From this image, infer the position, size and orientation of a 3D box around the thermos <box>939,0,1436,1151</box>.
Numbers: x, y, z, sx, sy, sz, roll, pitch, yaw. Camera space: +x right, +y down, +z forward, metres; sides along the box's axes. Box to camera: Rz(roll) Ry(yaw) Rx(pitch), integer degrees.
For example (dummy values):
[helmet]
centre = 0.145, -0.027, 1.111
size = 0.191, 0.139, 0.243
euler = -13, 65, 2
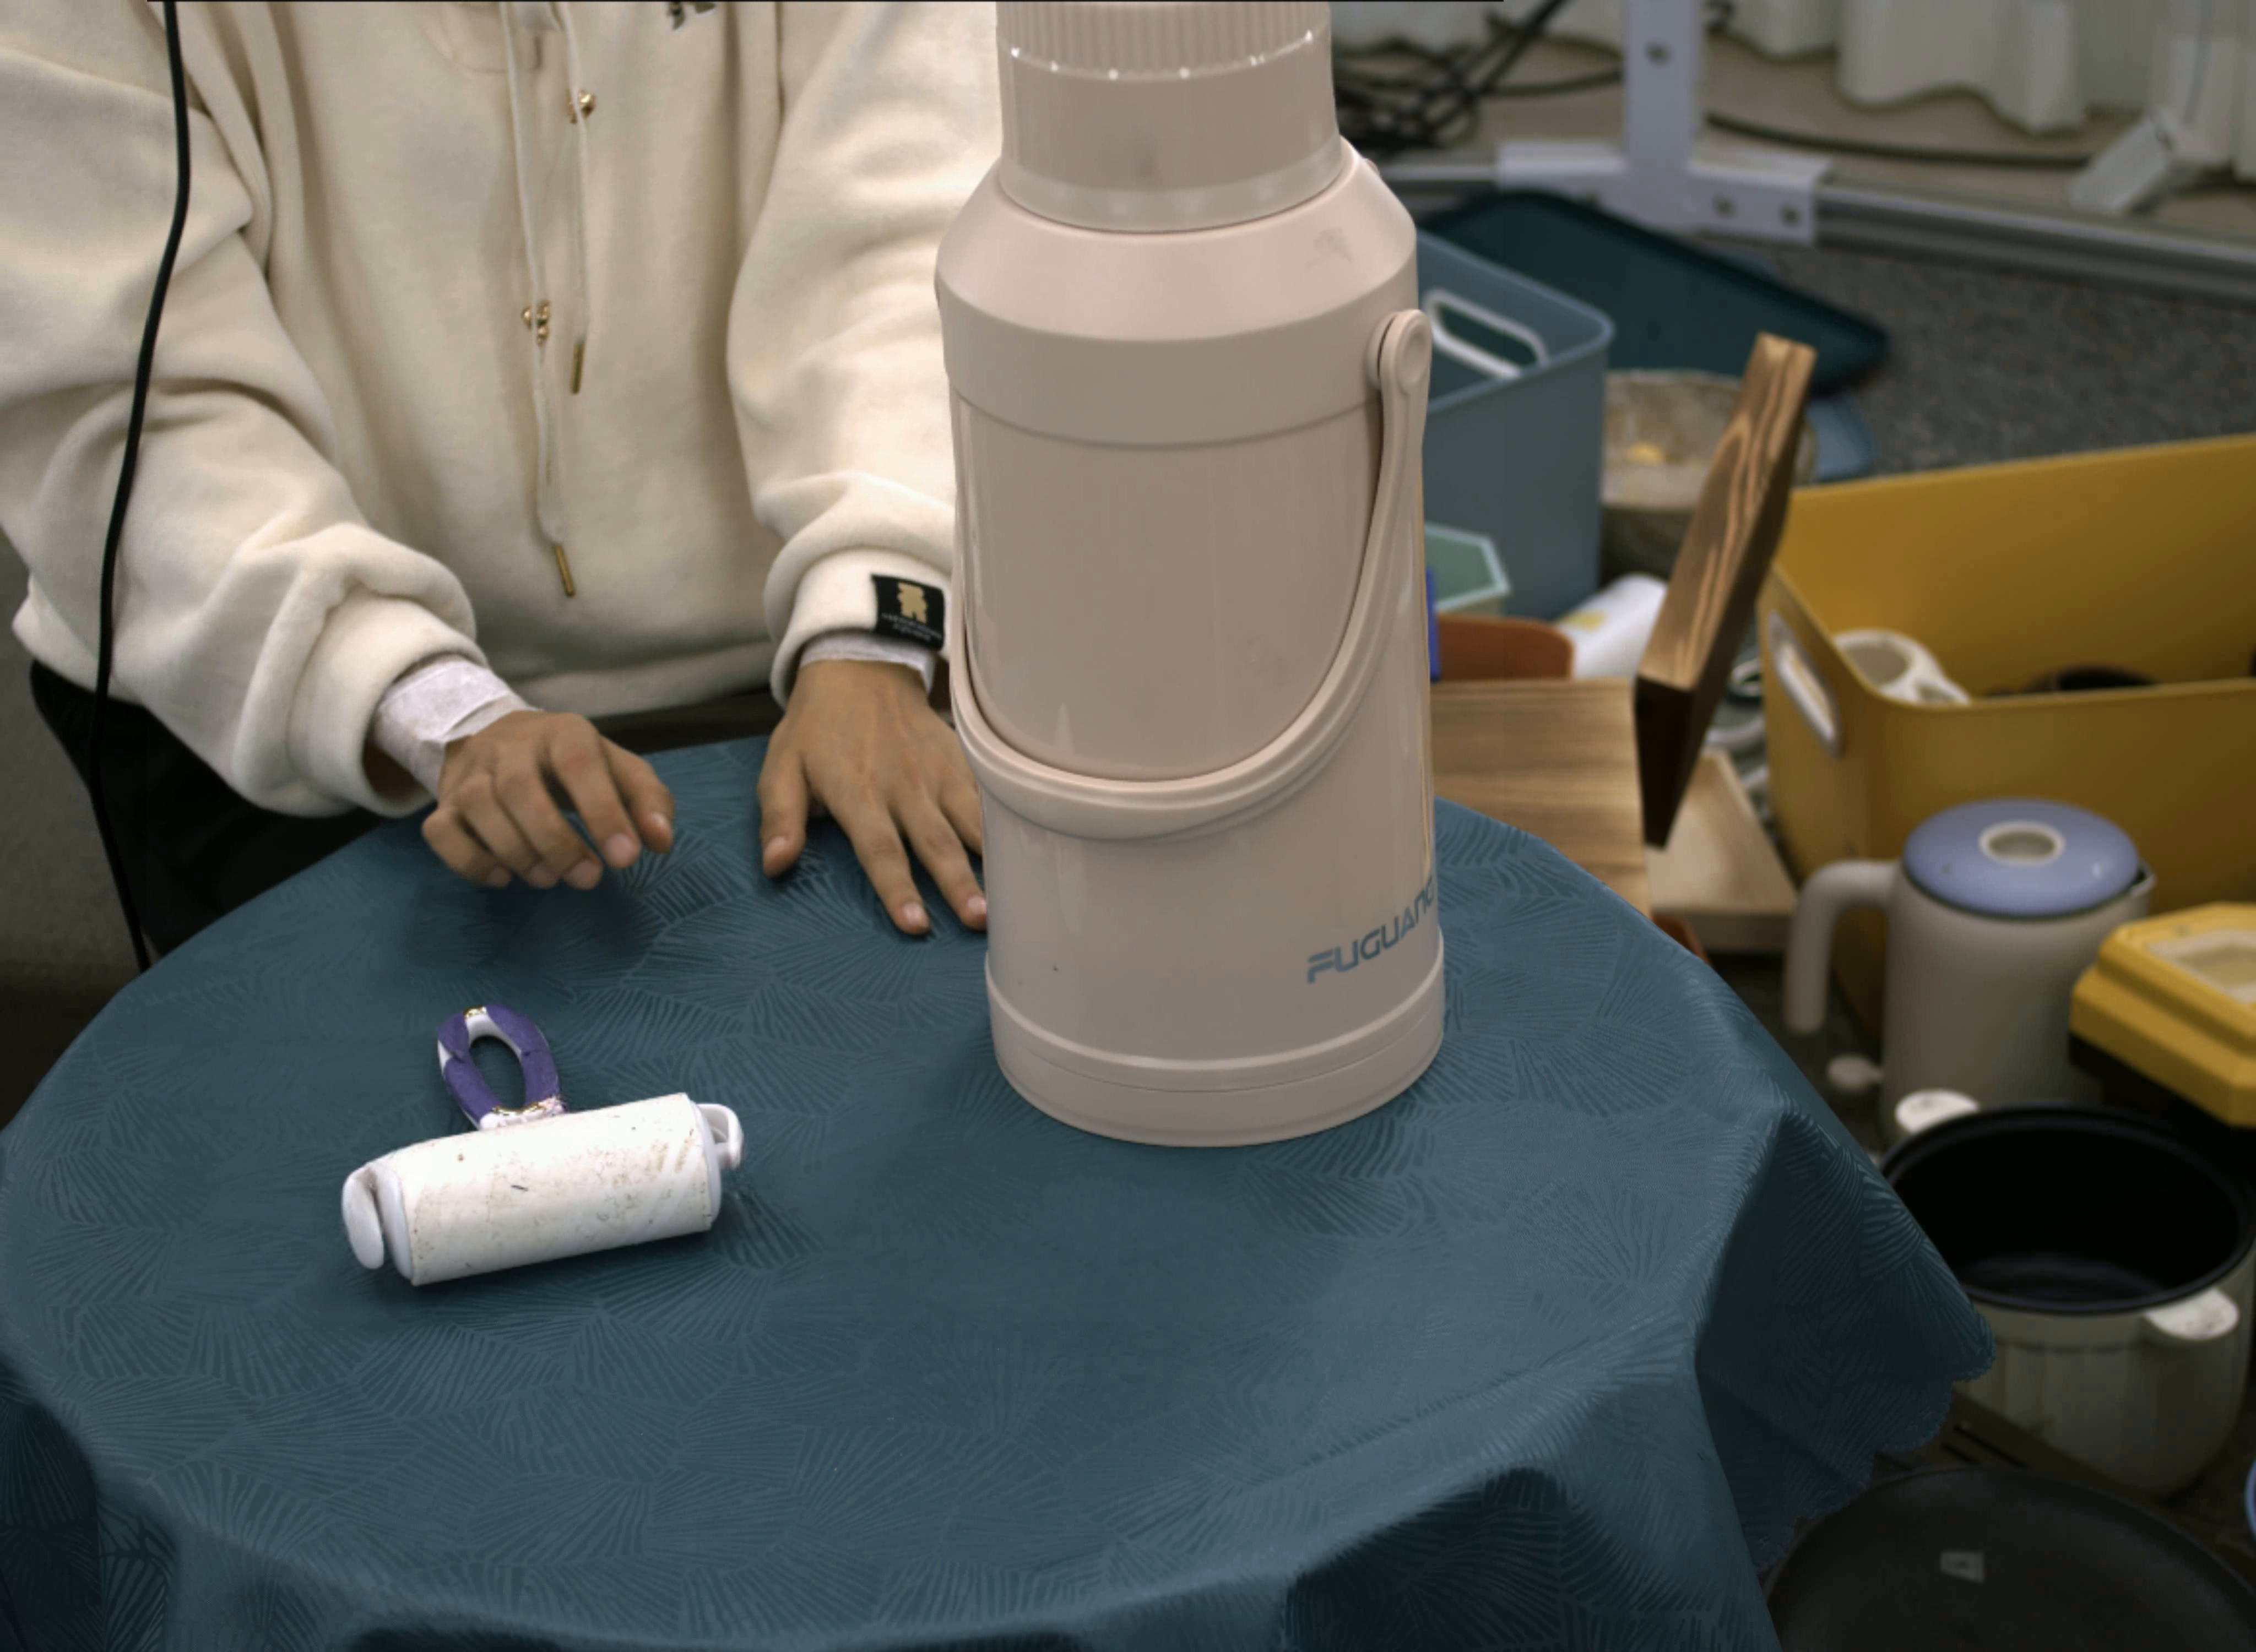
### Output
[thermos]
centre = 0.029, -0.108, 1.877
size = 0.174, 0.402, 0.210
euler = 12, 30, 29

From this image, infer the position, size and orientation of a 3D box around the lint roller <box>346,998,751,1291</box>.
[lint roller]
centre = -0.204, 0.090, 1.891
size = 0.133, 0.049, 0.183
euler = -10, 30, -10
